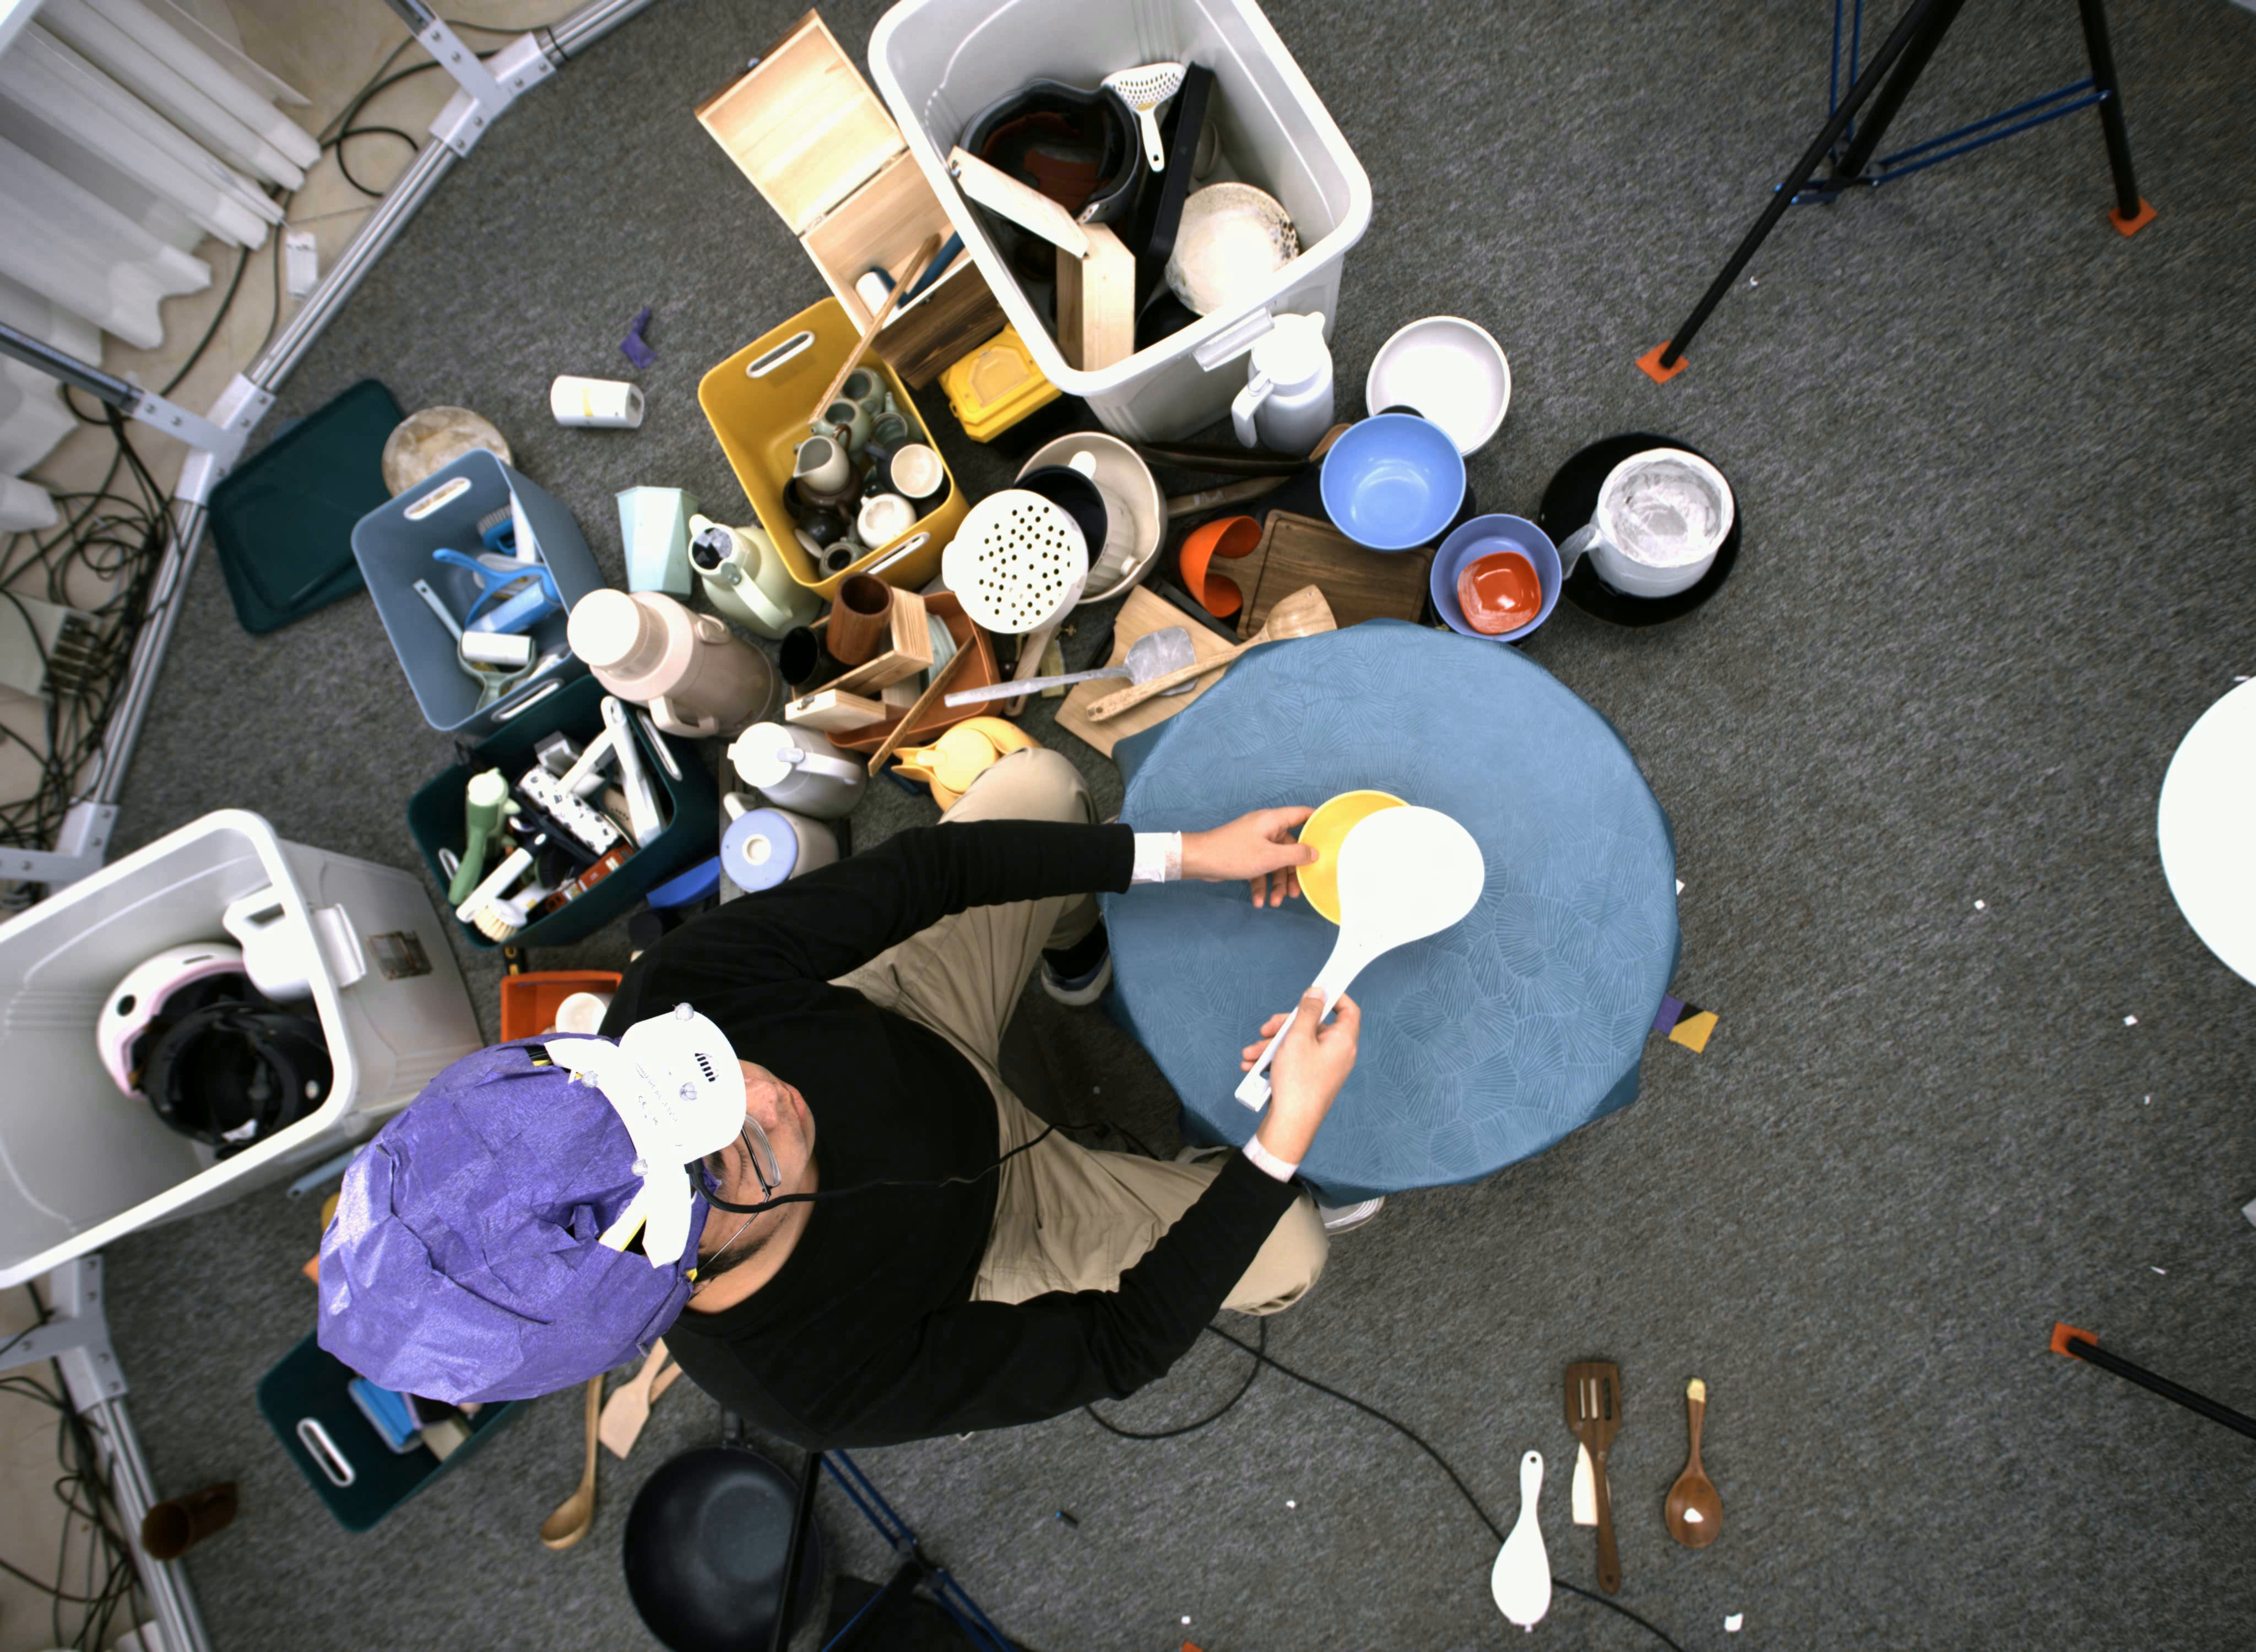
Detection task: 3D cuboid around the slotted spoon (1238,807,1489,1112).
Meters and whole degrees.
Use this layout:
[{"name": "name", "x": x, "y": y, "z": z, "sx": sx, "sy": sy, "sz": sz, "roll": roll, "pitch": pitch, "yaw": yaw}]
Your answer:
[{"name": "slotted spoon", "x": 0.213, "y": 0.123, "z": 1.295, "sx": 0.135, "sy": 0.047, "sz": 0.344, "roll": 33, "pitch": 67, "yaw": 19}]

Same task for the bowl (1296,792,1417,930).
[{"name": "bowl", "x": 0.245, "y": 0.040, "z": 1.436, "sx": 0.146, "sy": 0.060, "sz": 0.144, "roll": -1, "pitch": 82, "yaw": 7}]
